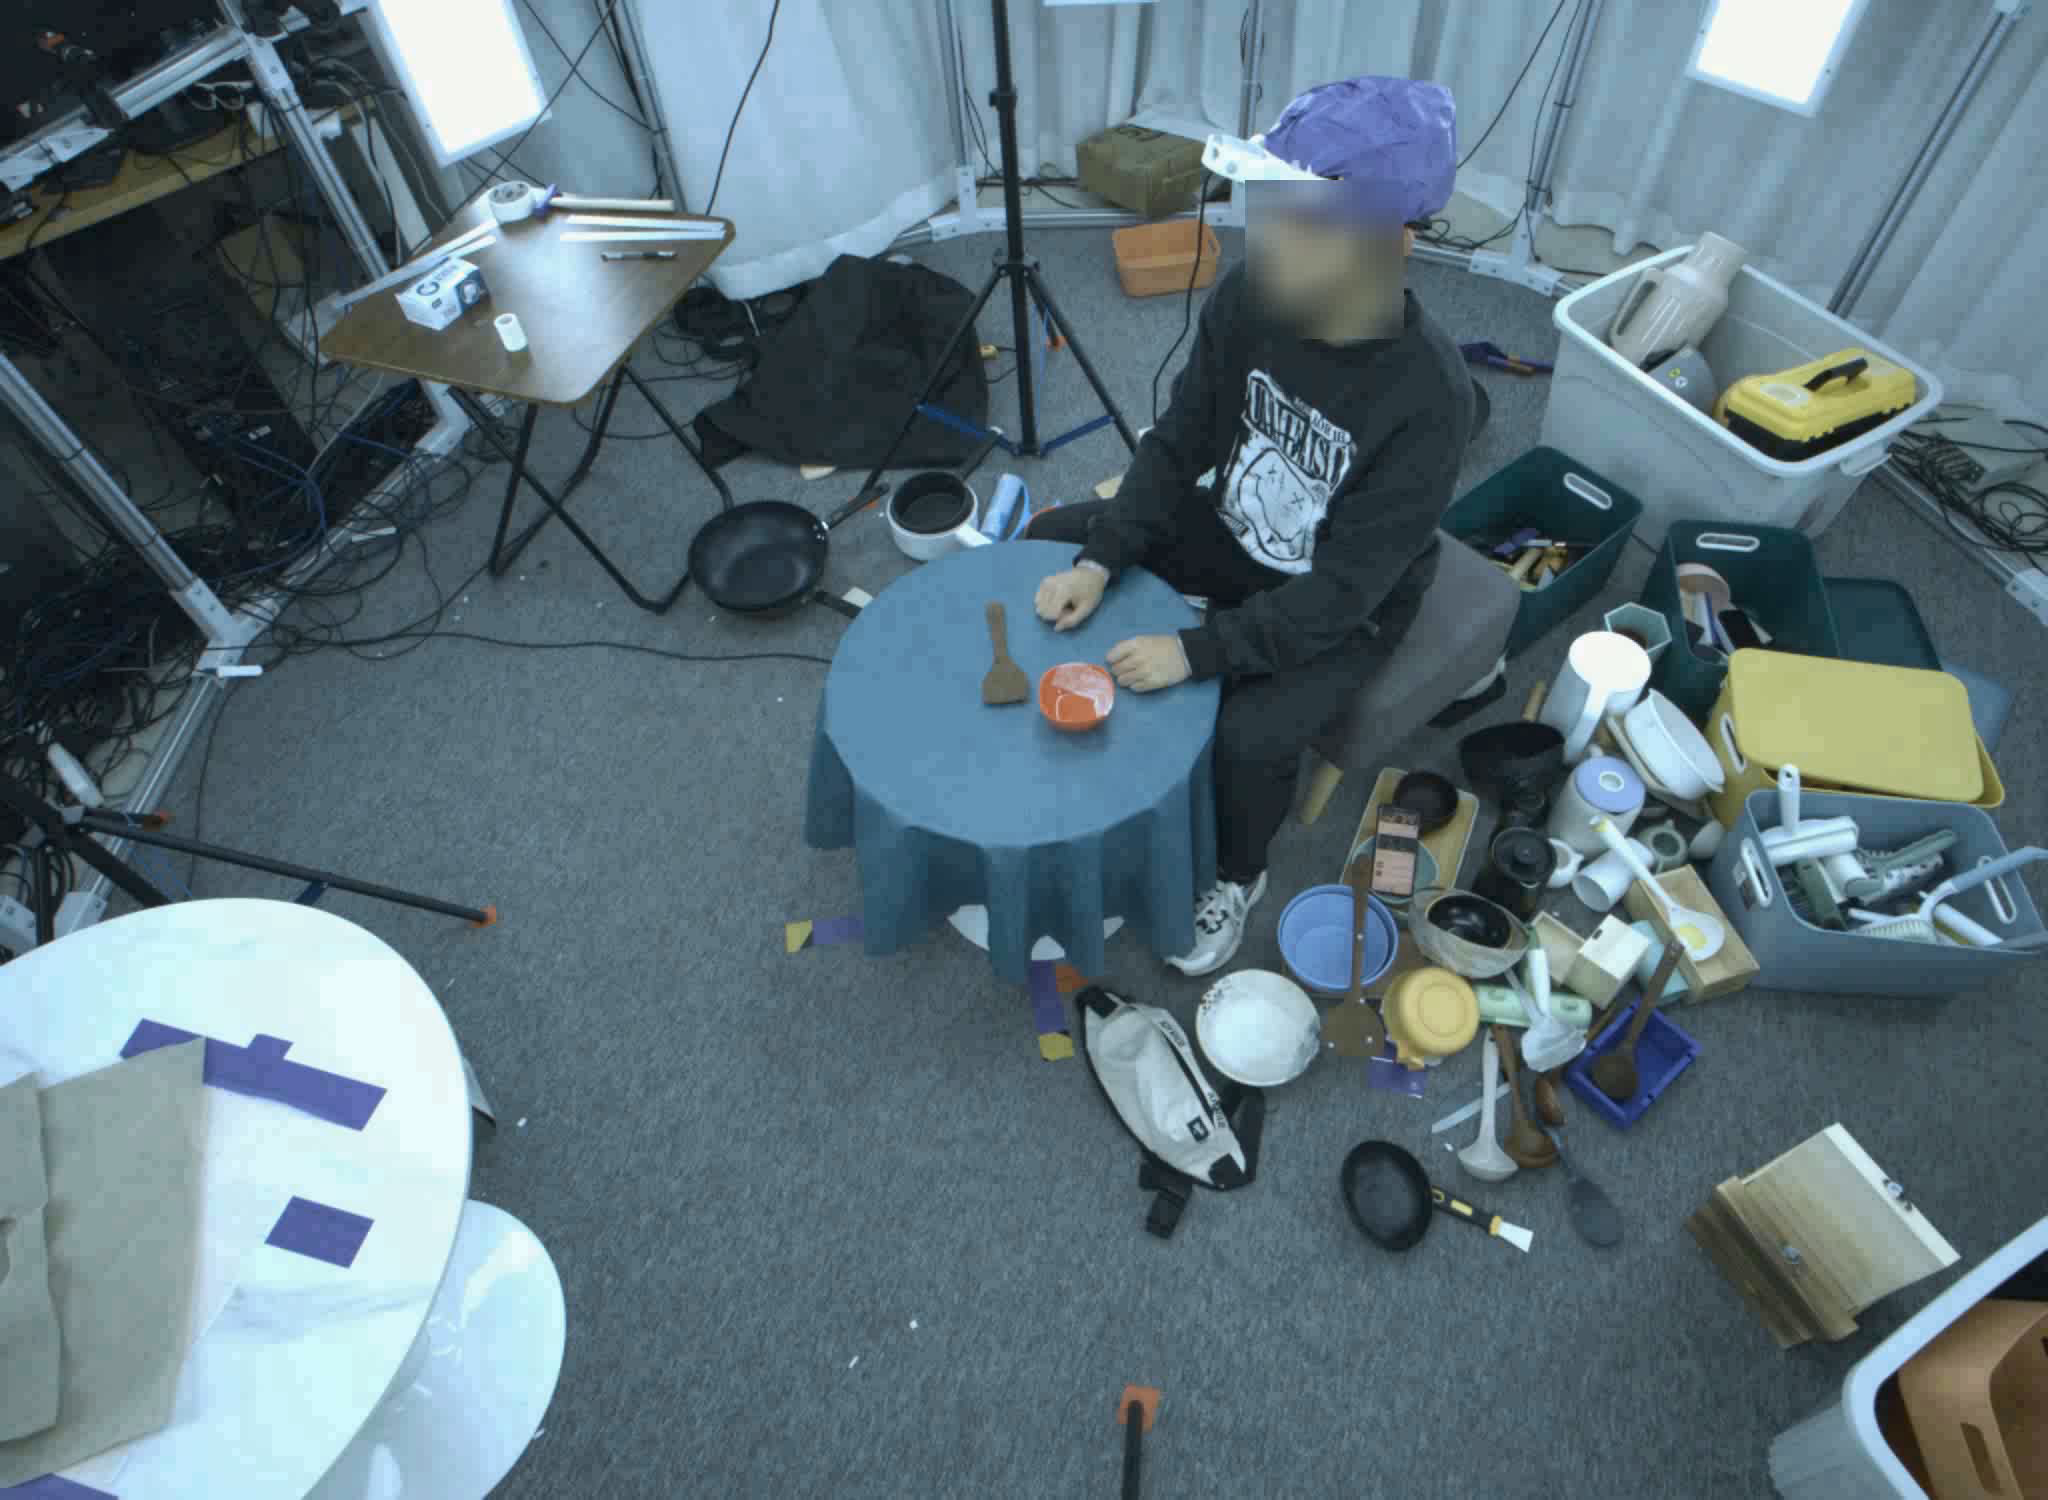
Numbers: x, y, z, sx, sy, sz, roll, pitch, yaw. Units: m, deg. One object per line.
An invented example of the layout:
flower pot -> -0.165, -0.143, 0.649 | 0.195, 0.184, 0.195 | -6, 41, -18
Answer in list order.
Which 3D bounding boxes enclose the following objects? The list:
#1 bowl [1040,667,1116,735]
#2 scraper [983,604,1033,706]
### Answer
bowl -> 0.080, -0.065, 1.812 | 0.119, 0.052, 0.117 | -1, 54, 3
scraper -> -0.034, -0.149, 1.899 | 0.076, 0.011, 0.208 | -6, 54, -4
